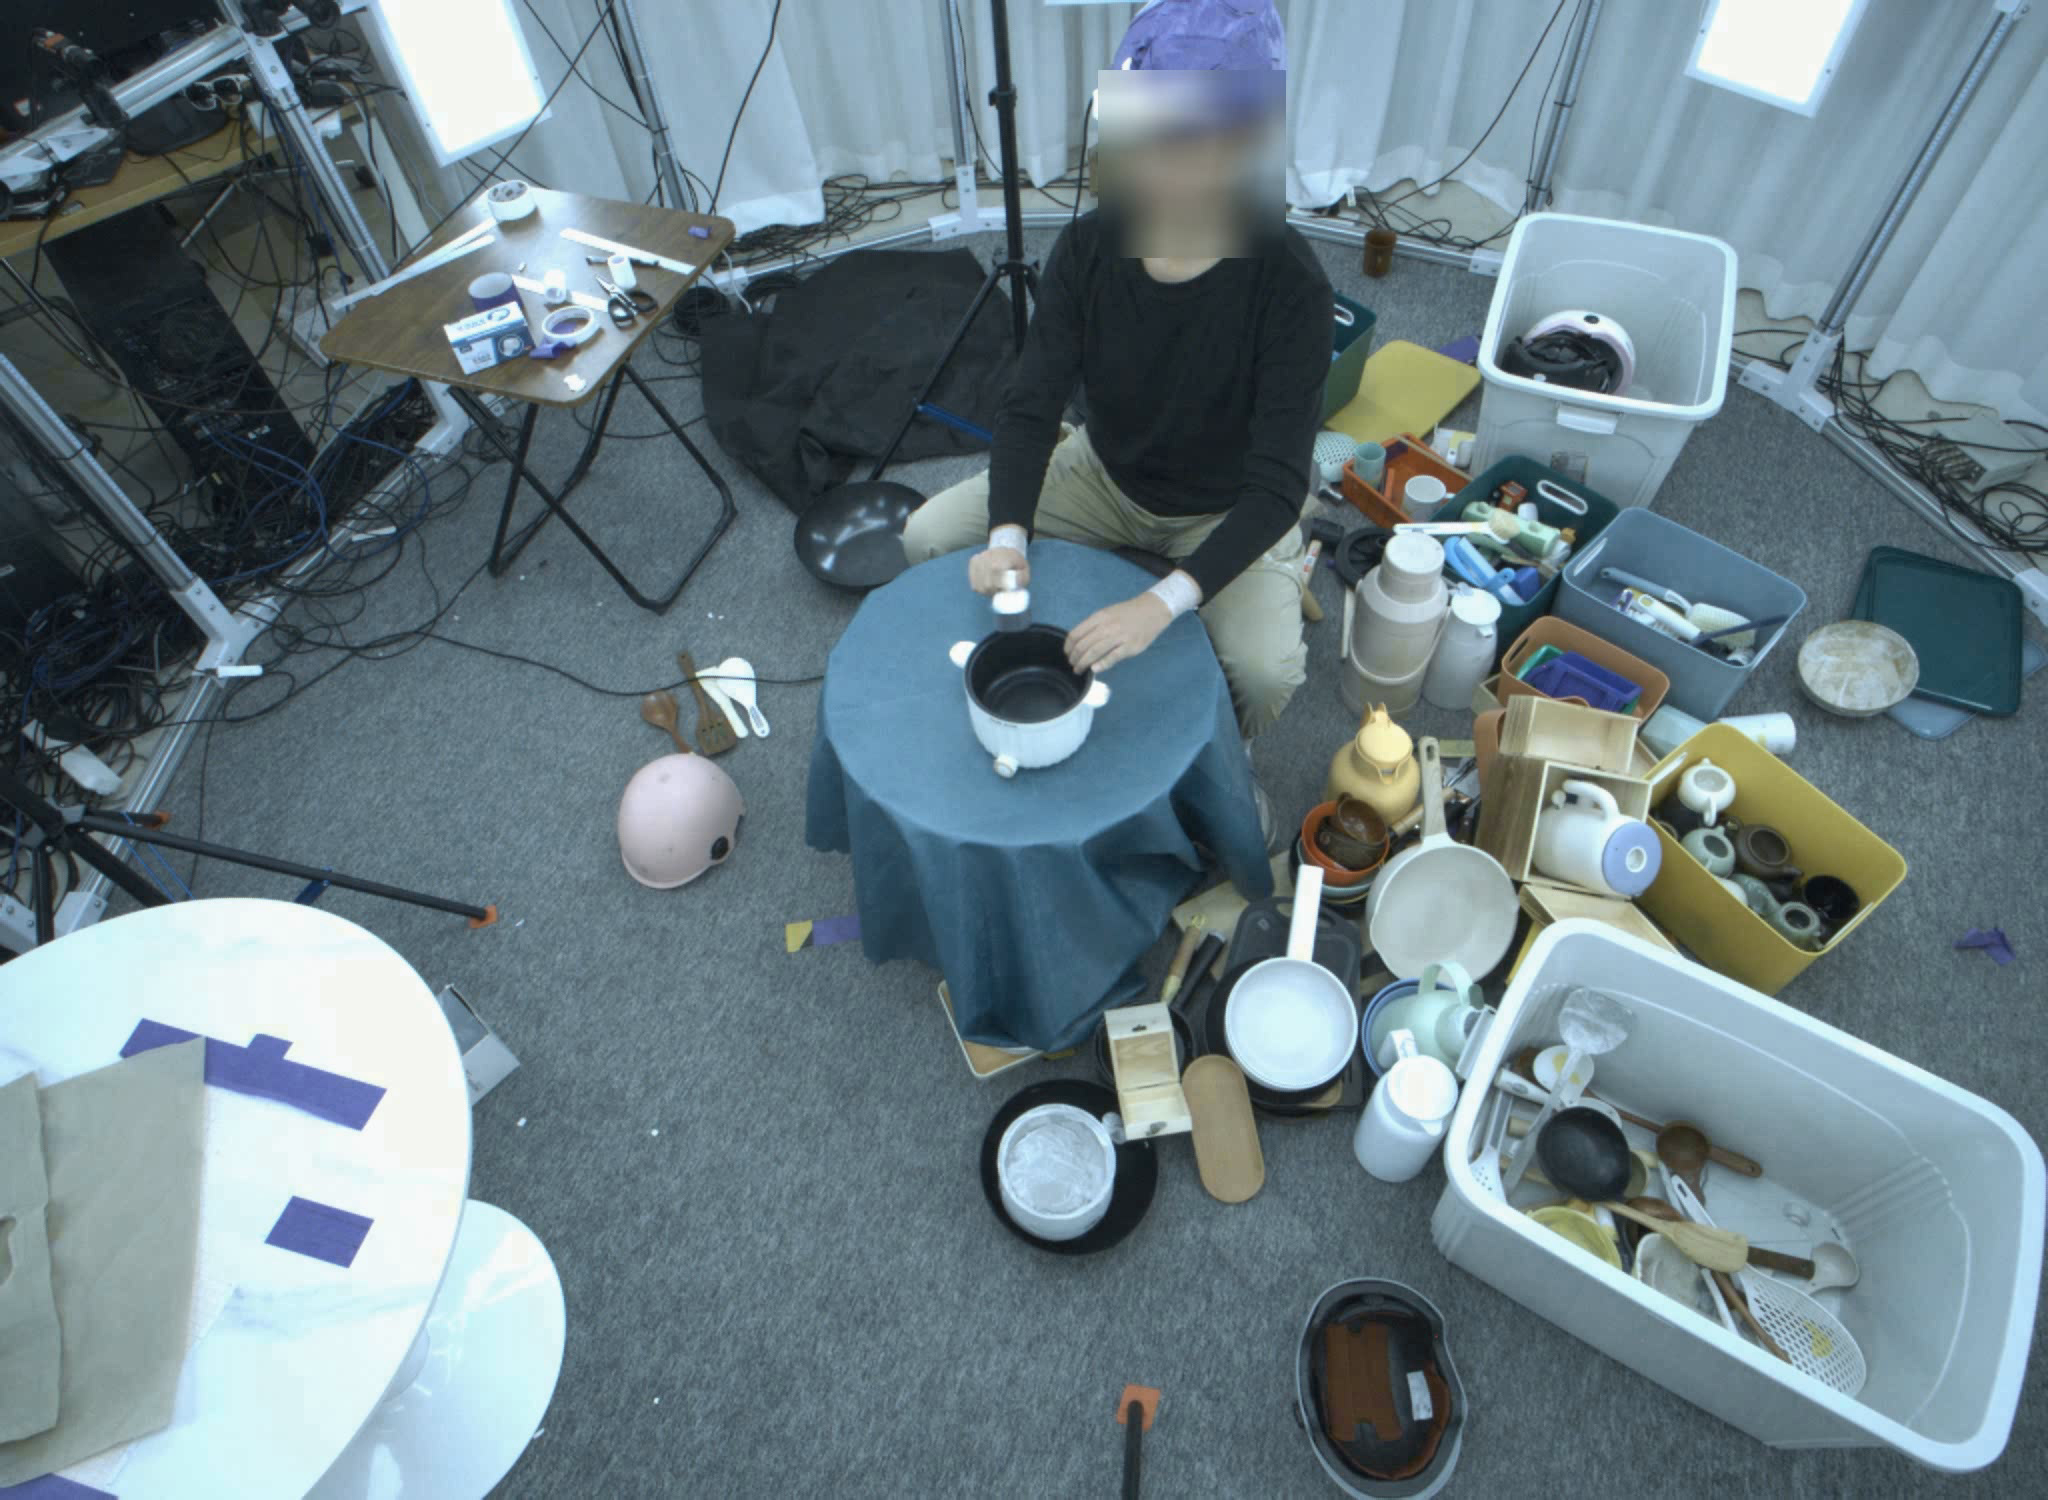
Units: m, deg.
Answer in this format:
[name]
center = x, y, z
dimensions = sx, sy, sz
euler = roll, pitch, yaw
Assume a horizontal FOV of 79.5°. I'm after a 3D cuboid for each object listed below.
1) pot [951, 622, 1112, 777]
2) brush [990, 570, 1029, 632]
[pot]
center = 0.011, -0.066, 1.749
dimensions = 0.237, 0.144, 0.190
euler = 17, 55, 16
[brush]
center = -0.023, -0.215, 1.732
dimensions = 0.050, 0.073, 0.099
euler = -3, 24, 8
